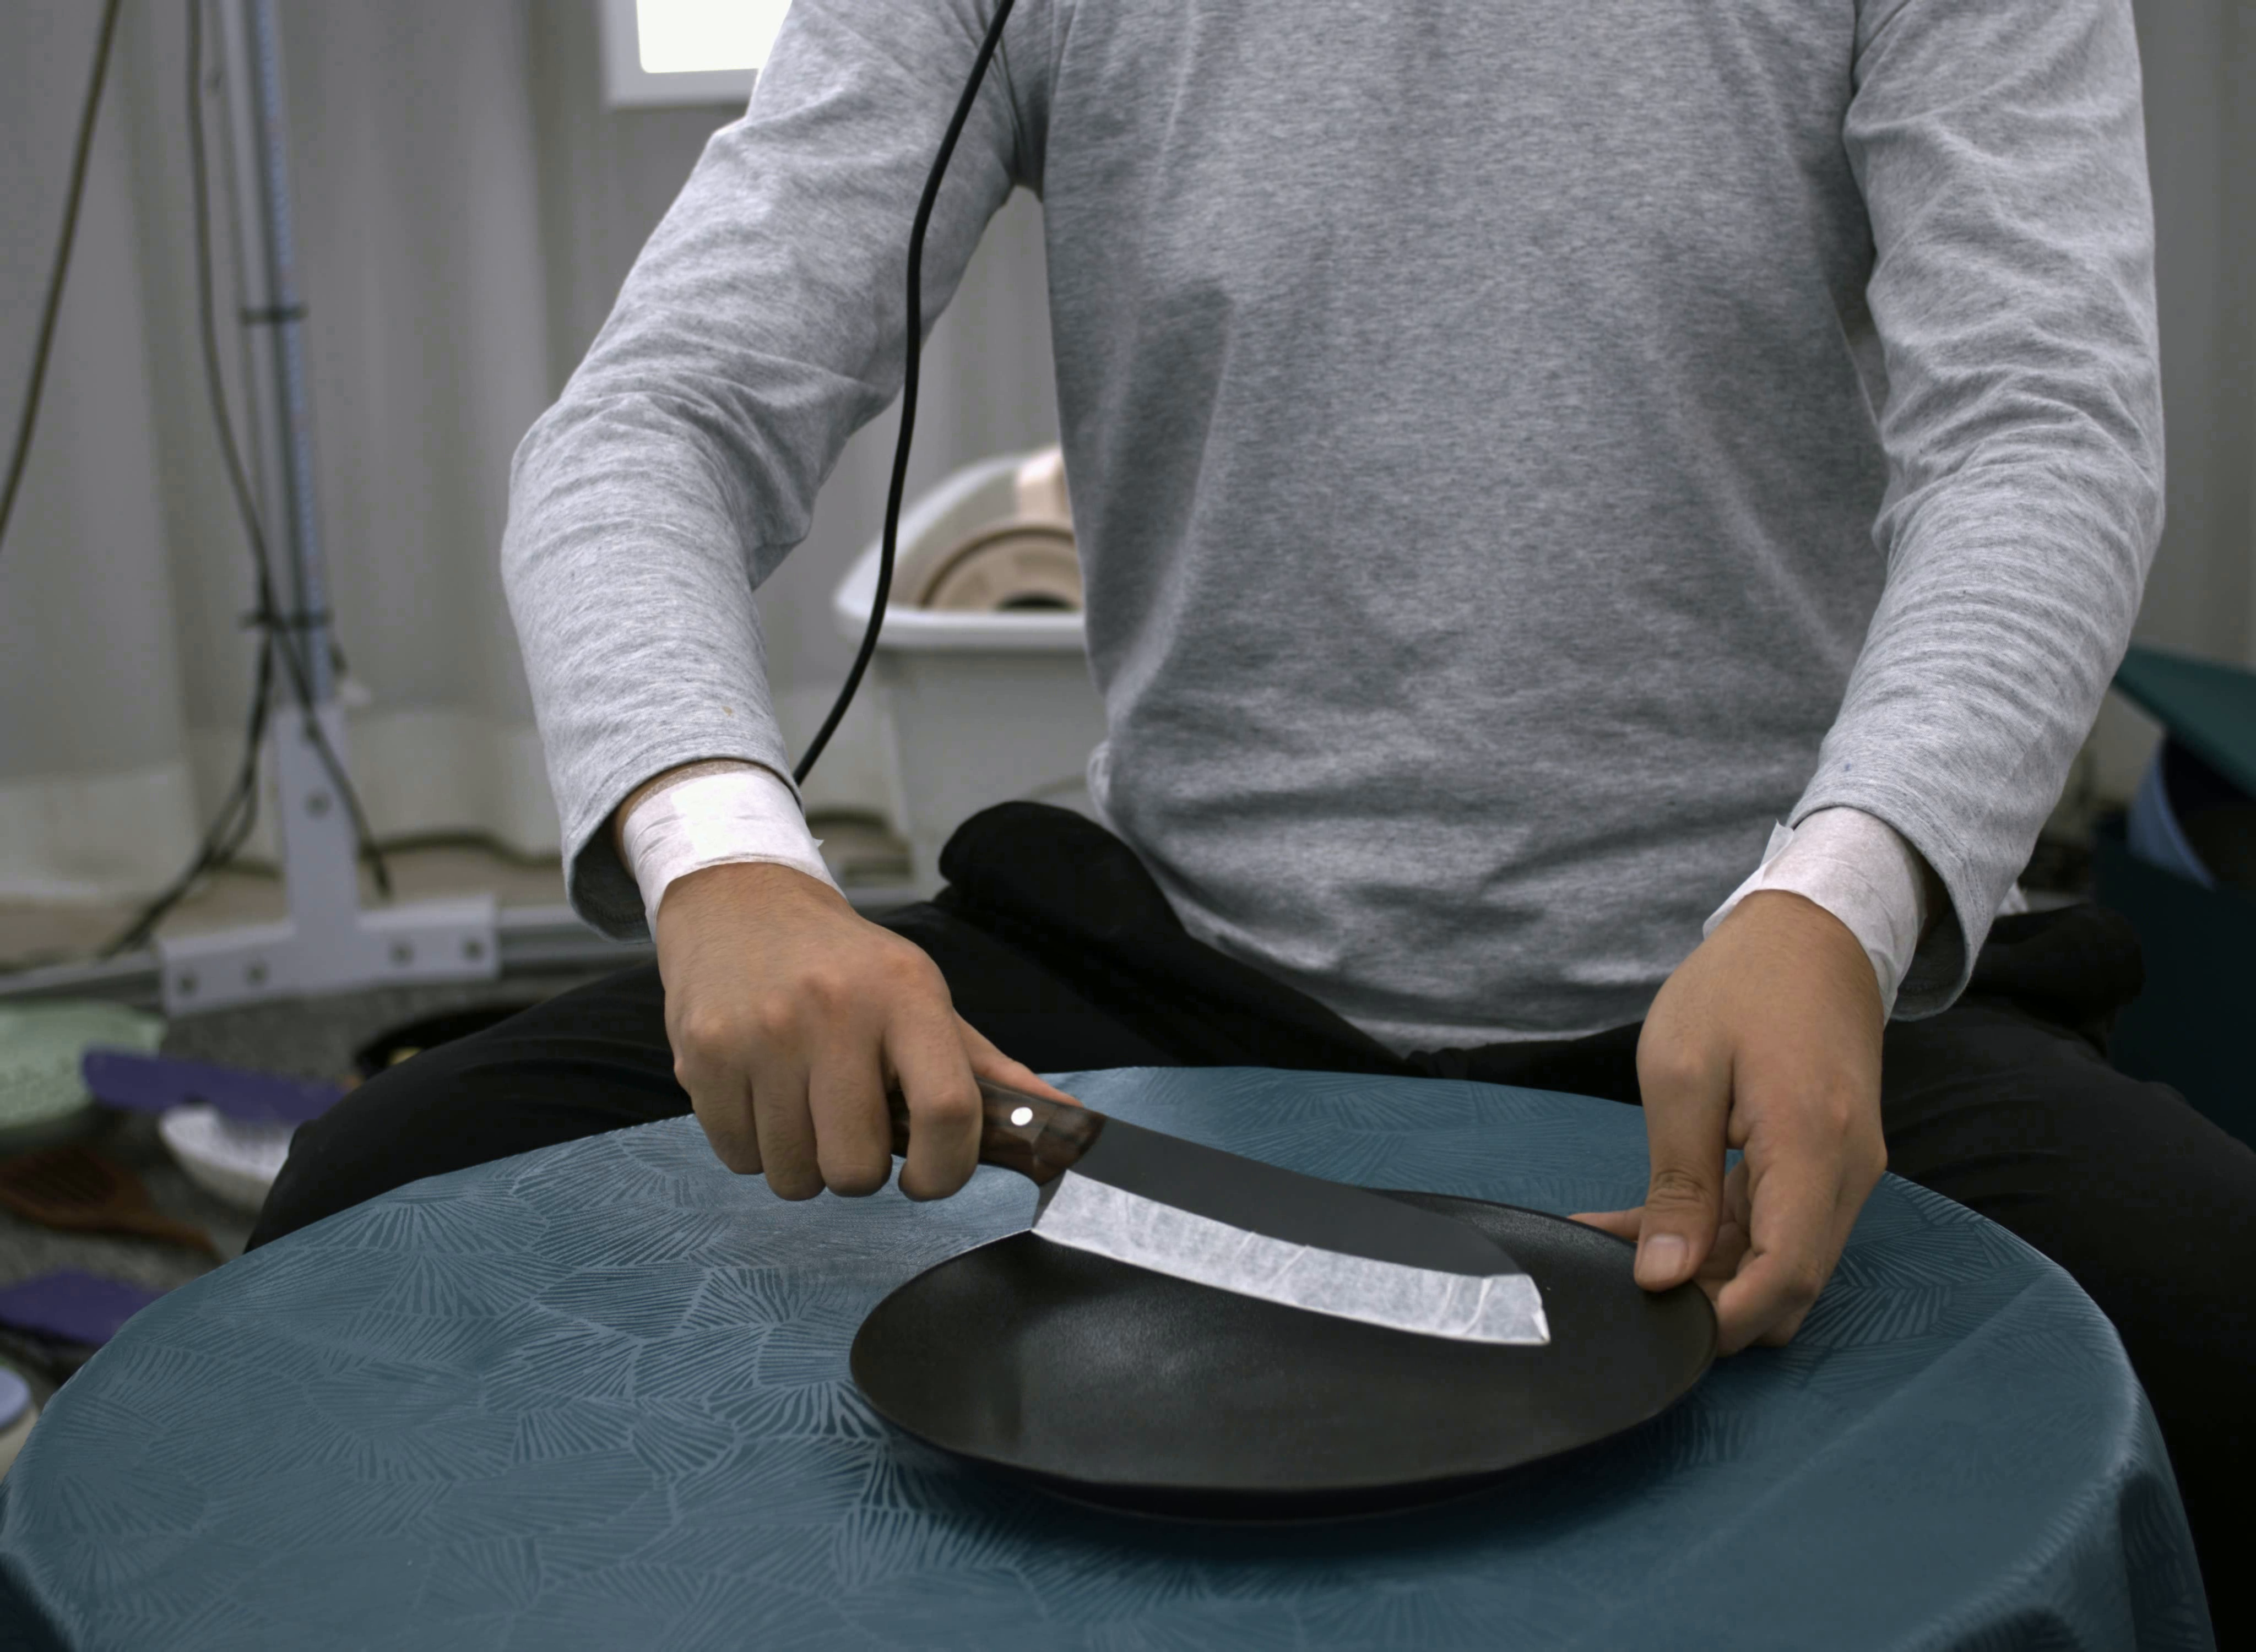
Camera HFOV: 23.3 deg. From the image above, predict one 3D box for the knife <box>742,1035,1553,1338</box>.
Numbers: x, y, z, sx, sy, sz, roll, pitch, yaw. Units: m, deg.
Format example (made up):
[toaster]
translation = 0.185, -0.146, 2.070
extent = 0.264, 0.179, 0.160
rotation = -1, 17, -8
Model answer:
[knife]
translation = 0.001, 0.105, 1.598
extent = 0.290, 0.020, 0.050
rotation = 16, 60, 32

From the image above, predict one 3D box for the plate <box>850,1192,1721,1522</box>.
[plate]
translation = 0.044, 0.151, 1.528
extent = 0.243, 0.023, 0.246
rotation = -3, 15, 0
